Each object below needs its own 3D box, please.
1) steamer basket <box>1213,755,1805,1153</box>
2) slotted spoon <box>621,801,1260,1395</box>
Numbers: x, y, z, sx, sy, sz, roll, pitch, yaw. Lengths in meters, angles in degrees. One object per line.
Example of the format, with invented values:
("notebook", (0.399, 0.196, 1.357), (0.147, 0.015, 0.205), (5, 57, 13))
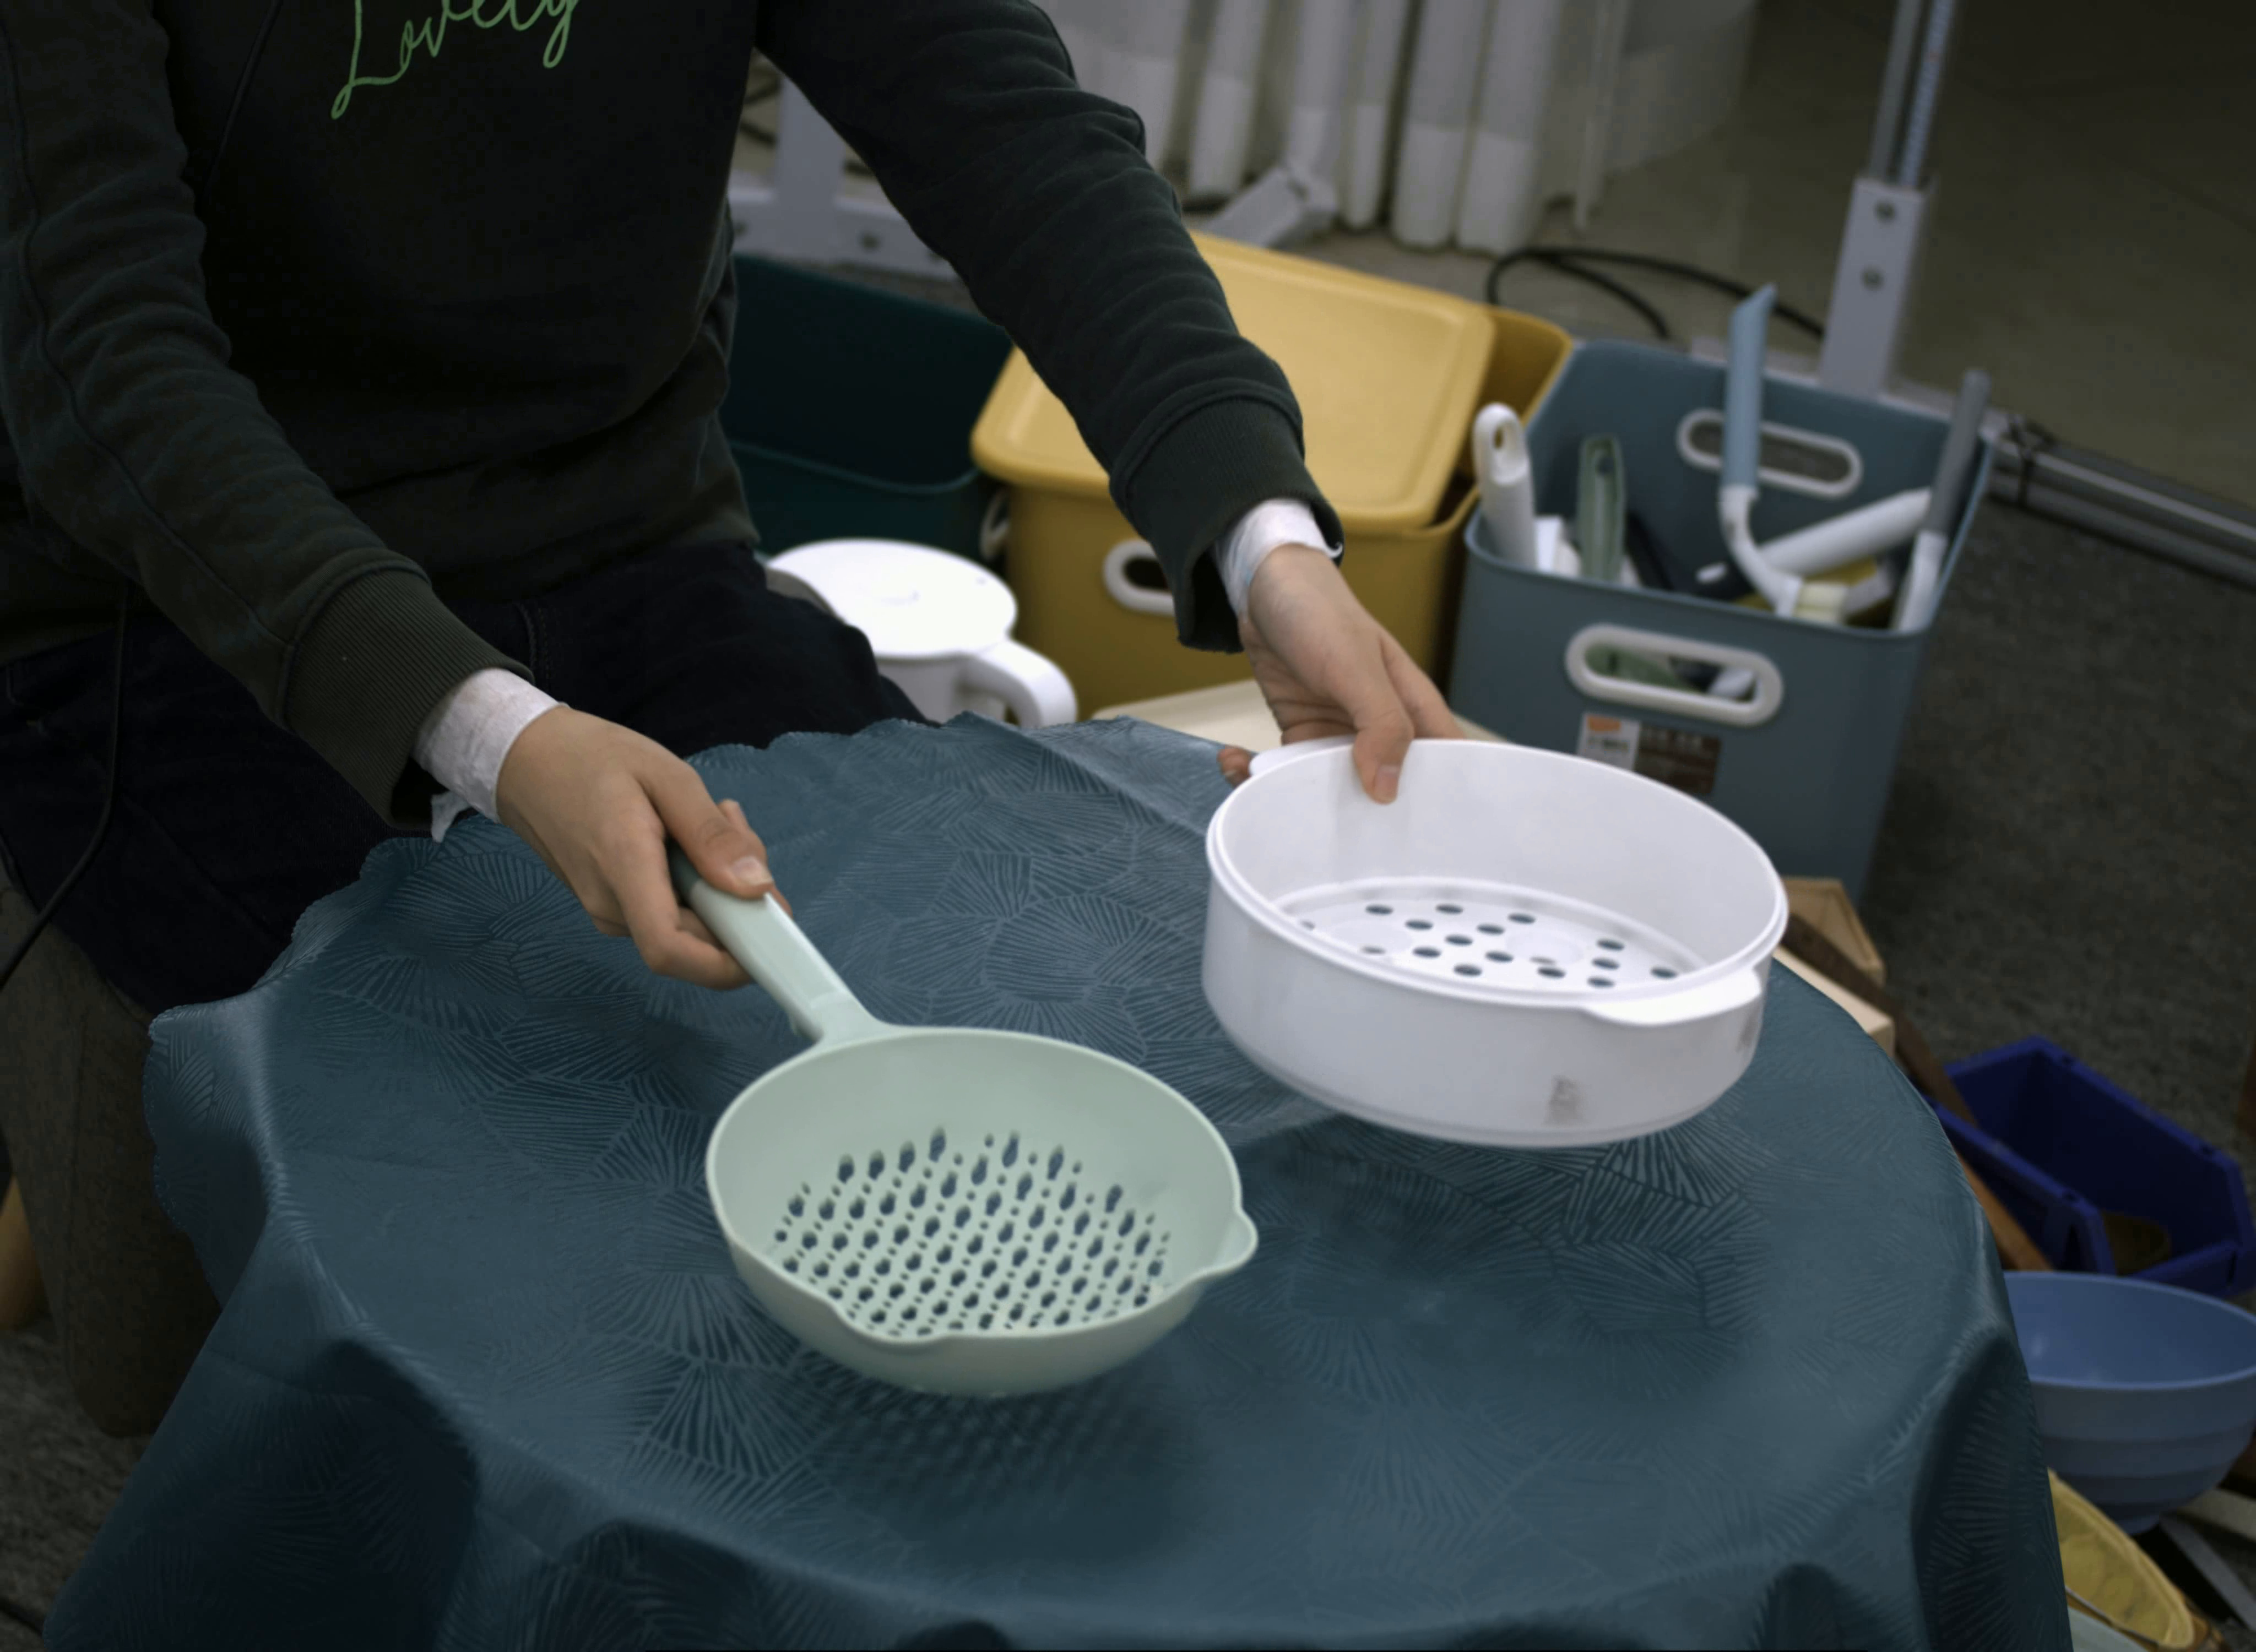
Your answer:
("steamer basket", (0.128, 0.044, 1.823), (0.200, 0.069, 0.232), (-9, 27, -34))
("slotted spoon", (-0.093, 0.072, 1.745), (0.168, 0.075, 0.362), (-10, 41, -25))
